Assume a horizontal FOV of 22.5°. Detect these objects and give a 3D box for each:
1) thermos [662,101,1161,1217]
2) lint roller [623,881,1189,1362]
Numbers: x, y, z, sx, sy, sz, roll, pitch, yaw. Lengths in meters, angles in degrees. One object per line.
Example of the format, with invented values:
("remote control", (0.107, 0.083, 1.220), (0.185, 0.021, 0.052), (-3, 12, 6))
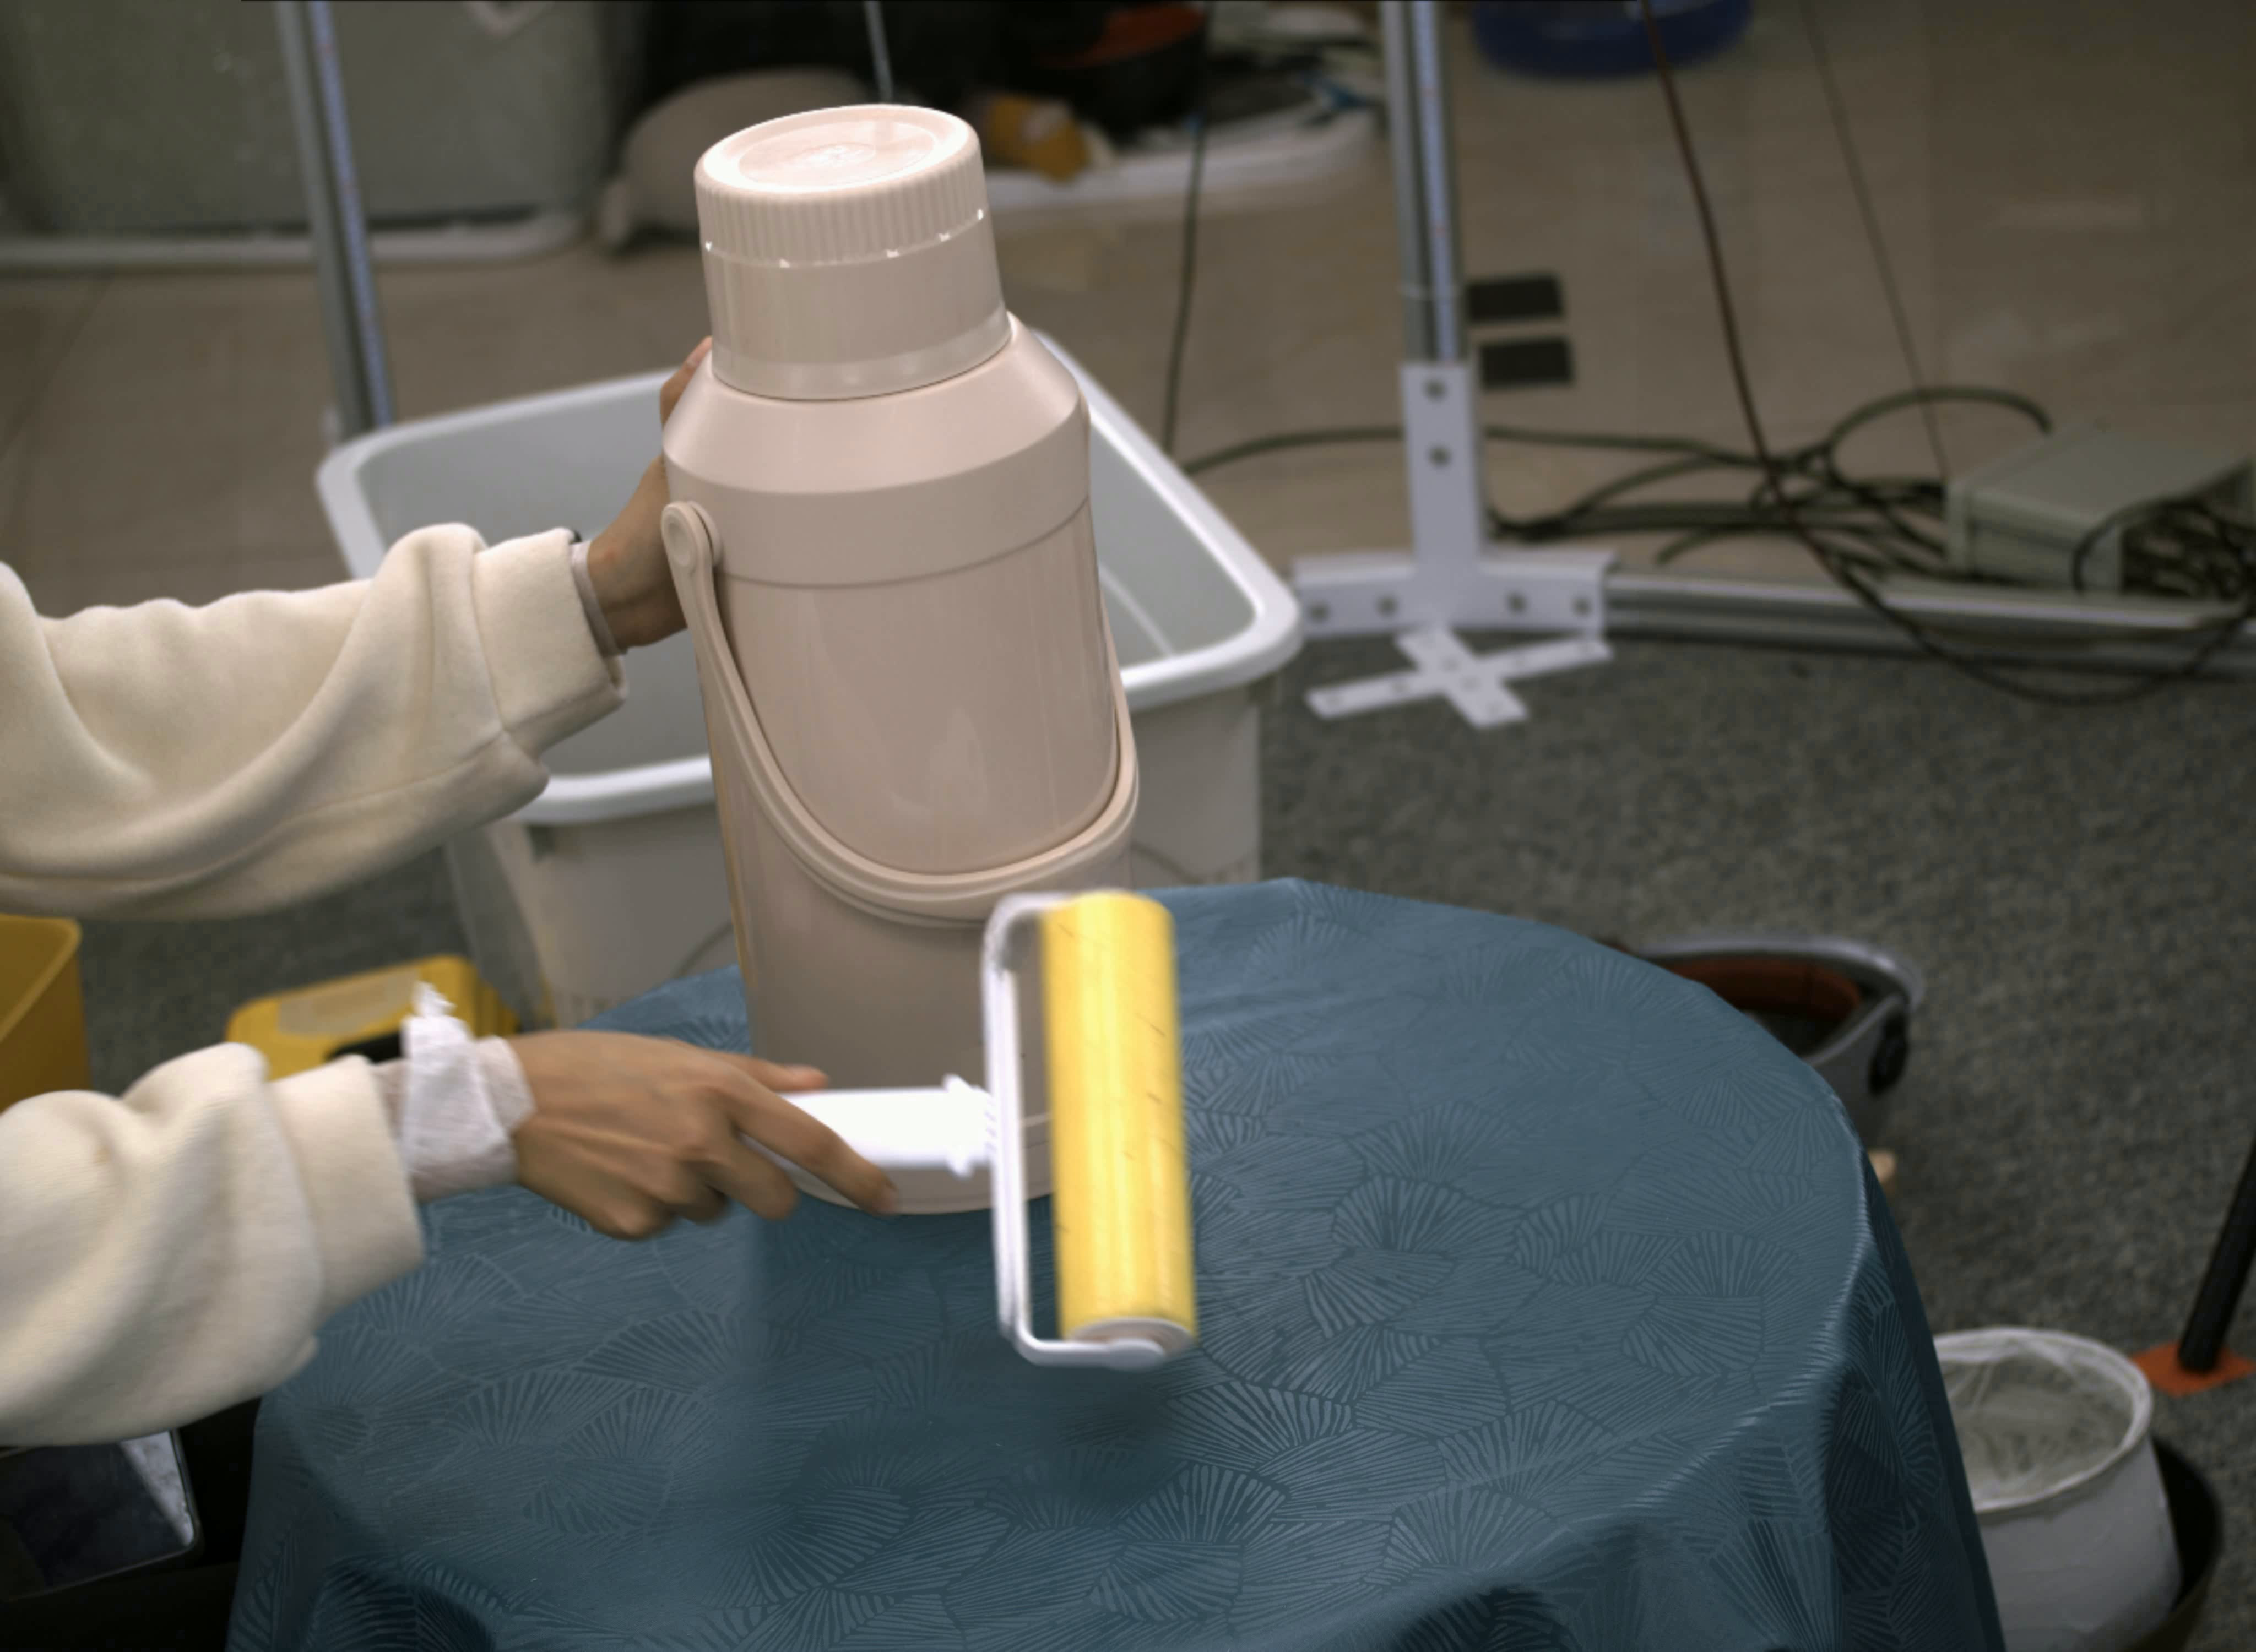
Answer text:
("thermos", (-0.092, -0.068, 2.139), (0.174, 0.413, 0.205), (-23, 30, -29))
("lint roller", (-0.078, 0.100, 1.974), (0.192, 0.052, 0.172), (3, 68, -18))
